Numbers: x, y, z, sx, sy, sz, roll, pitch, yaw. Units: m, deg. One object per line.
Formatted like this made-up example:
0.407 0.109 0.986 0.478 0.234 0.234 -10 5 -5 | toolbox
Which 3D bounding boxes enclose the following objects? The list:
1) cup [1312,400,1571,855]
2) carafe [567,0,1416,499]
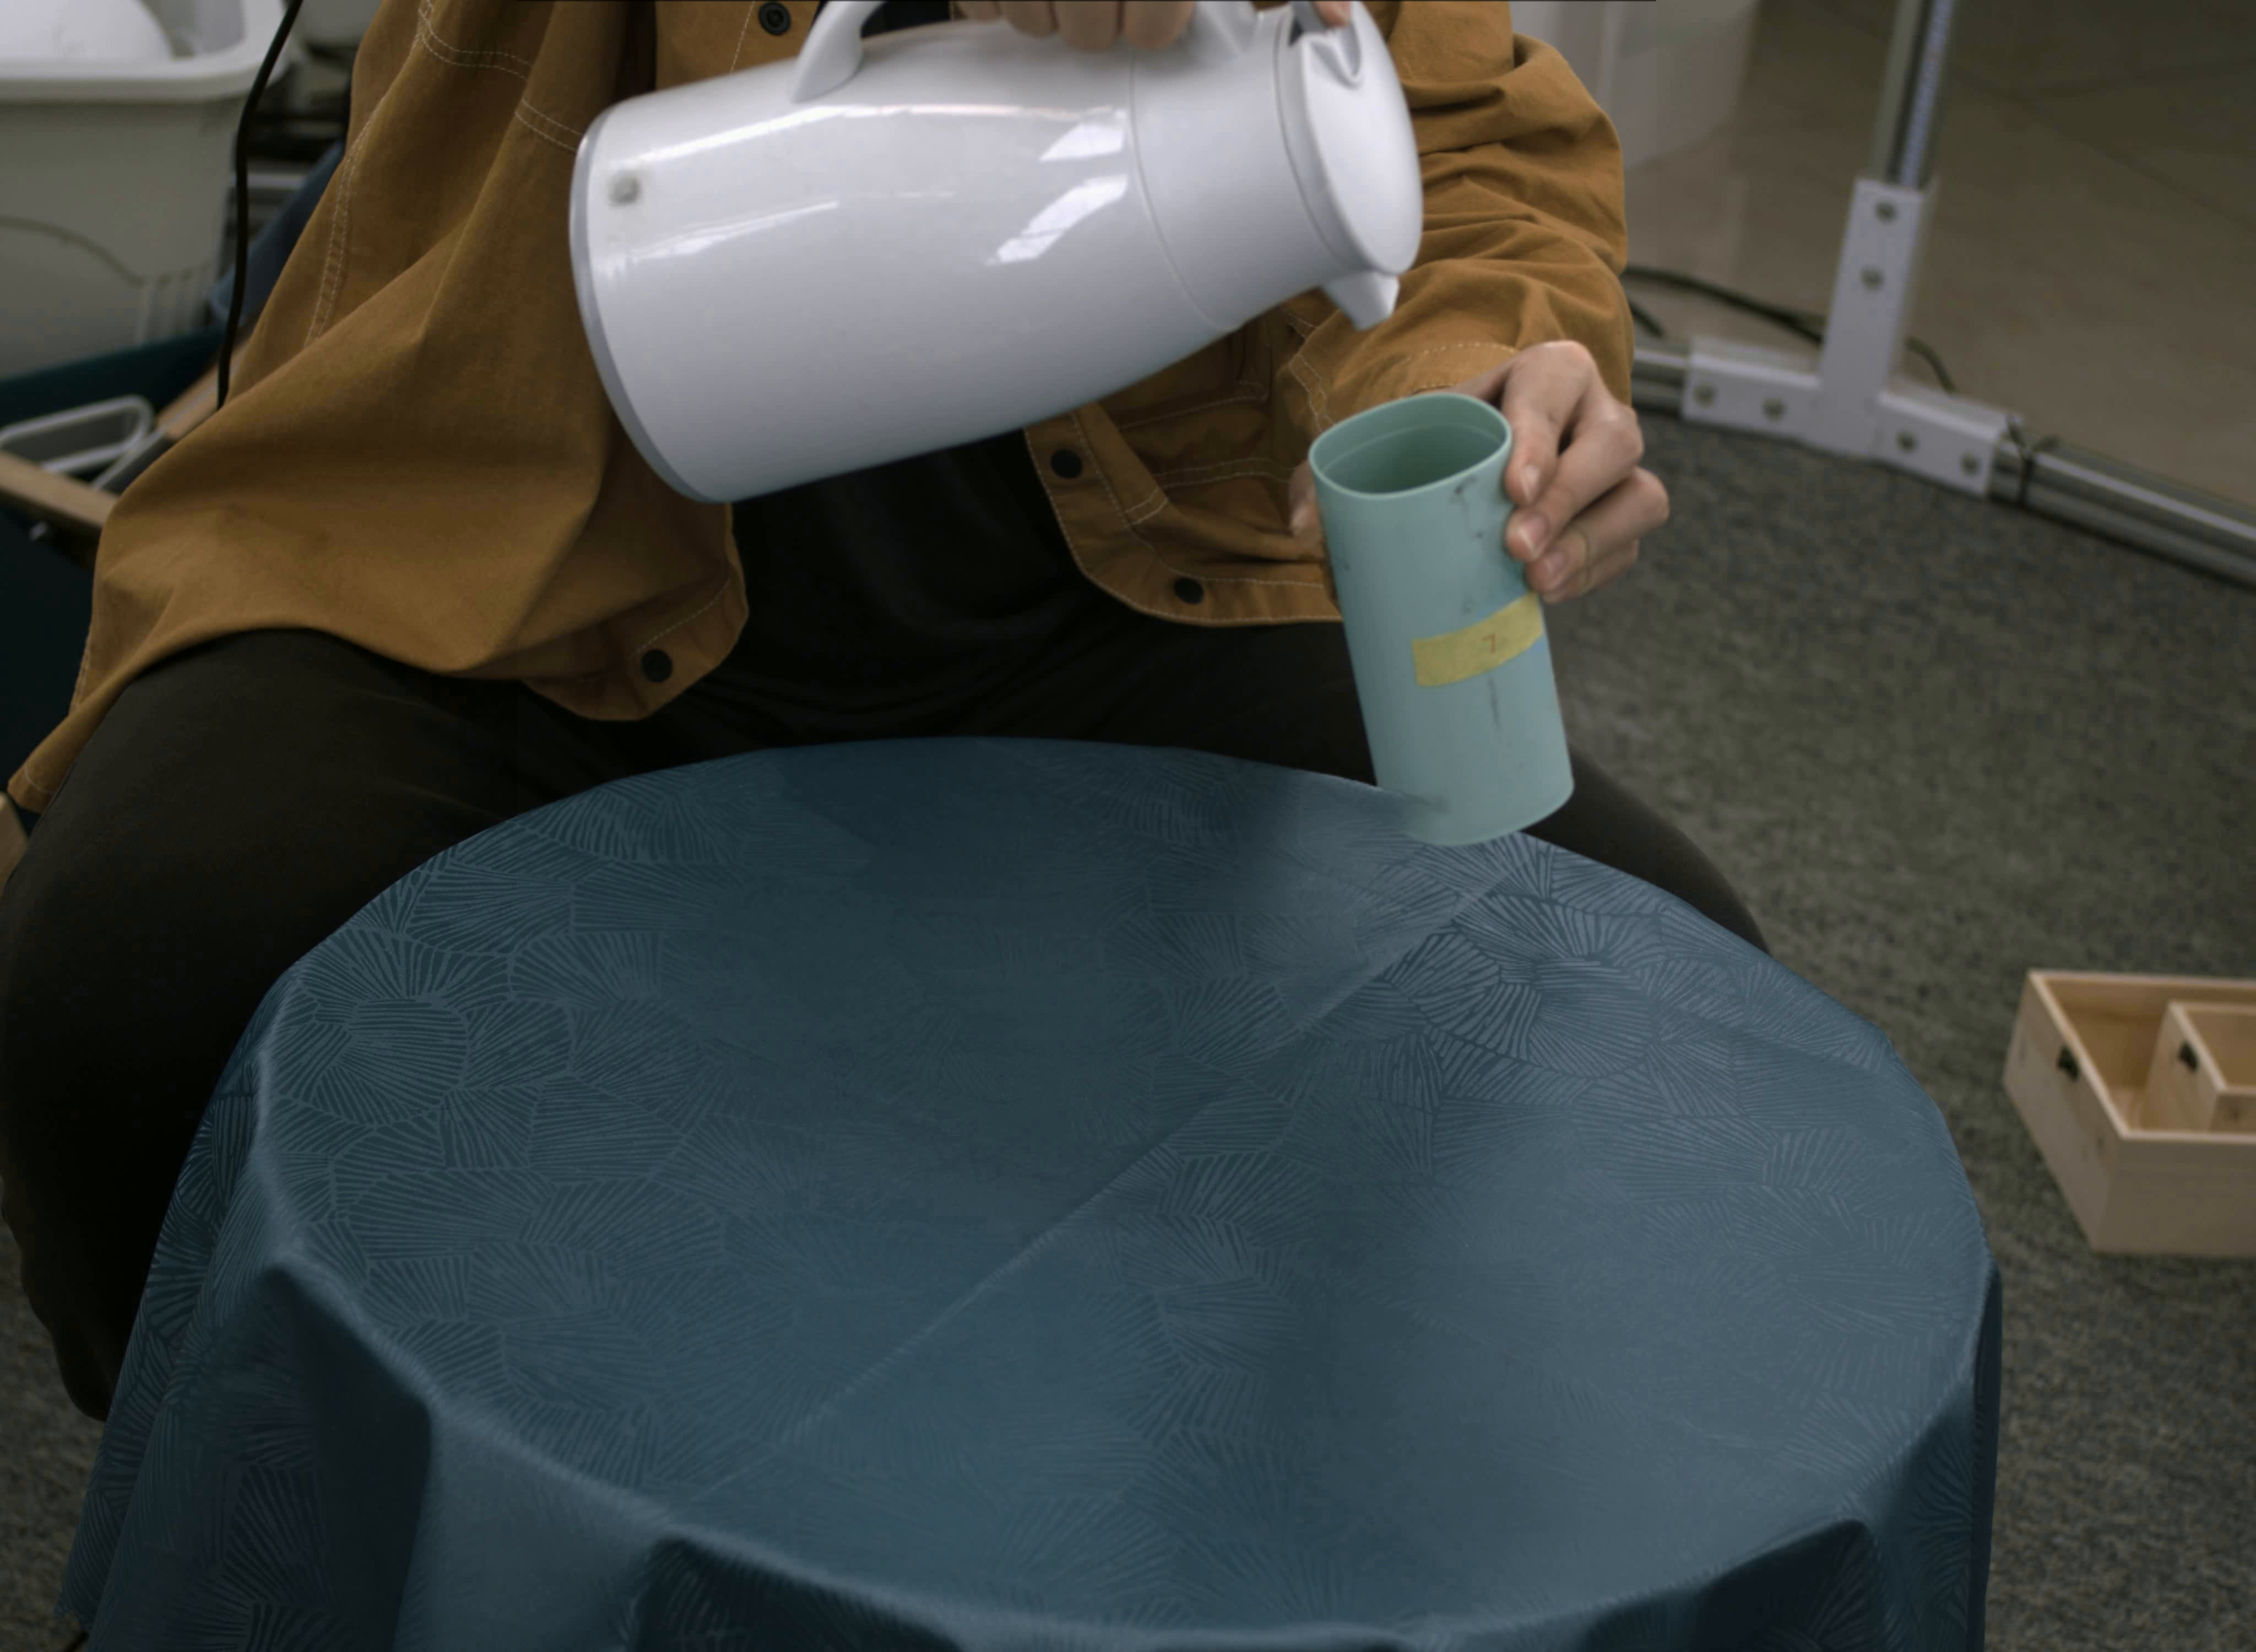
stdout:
0.100 -0.064 1.700 0.066 0.131 0.067 -10 30 5 | cup
-0.043 -0.204 1.643 0.249 0.166 0.133 -12 36 23 | carafe
